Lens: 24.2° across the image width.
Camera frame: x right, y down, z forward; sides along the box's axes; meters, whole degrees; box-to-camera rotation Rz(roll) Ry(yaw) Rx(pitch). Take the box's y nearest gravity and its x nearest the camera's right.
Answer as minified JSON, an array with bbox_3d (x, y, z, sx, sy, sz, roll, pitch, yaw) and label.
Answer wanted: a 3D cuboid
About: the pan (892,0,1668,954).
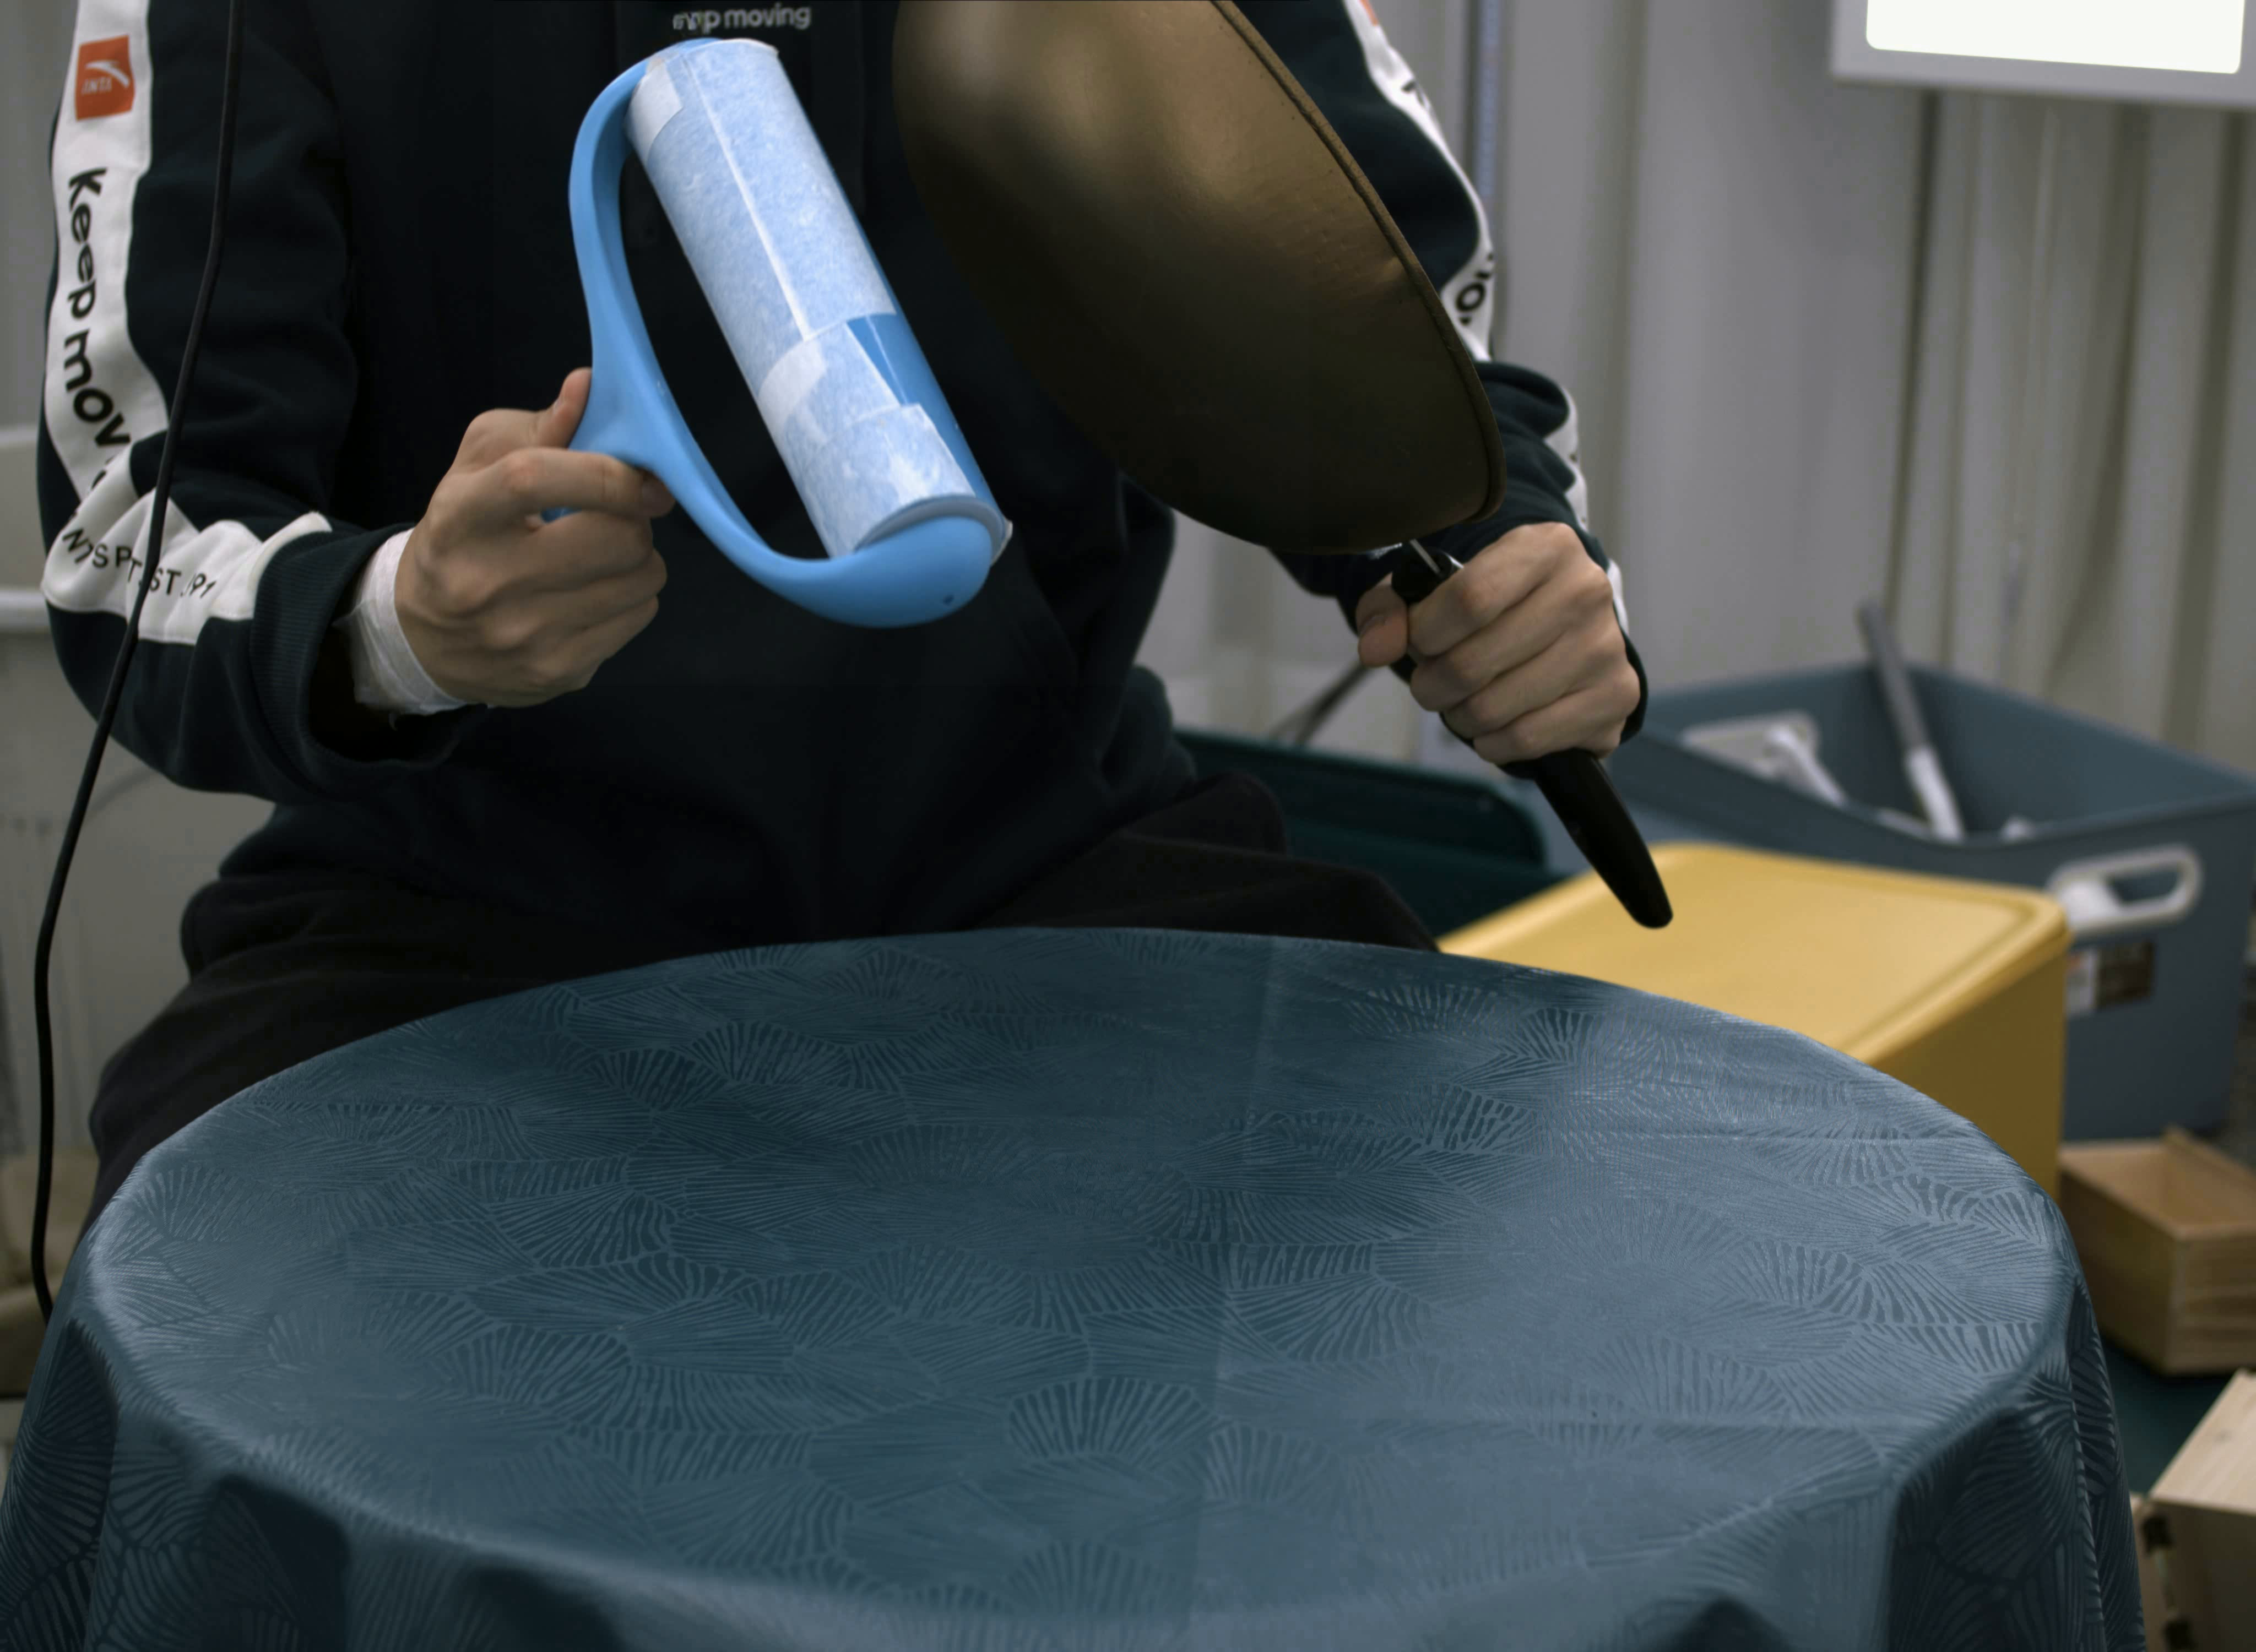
[{"bbox_3d":[0.048,-0.120,1.784,0.087,0.469,0.284,-37,27,-11],"label":"pan"}]

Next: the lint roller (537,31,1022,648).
[{"bbox_3d":[-0.137,-0.121,1.645,0.068,0.180,0.226,15,38,-54],"label":"lint roller"}]
